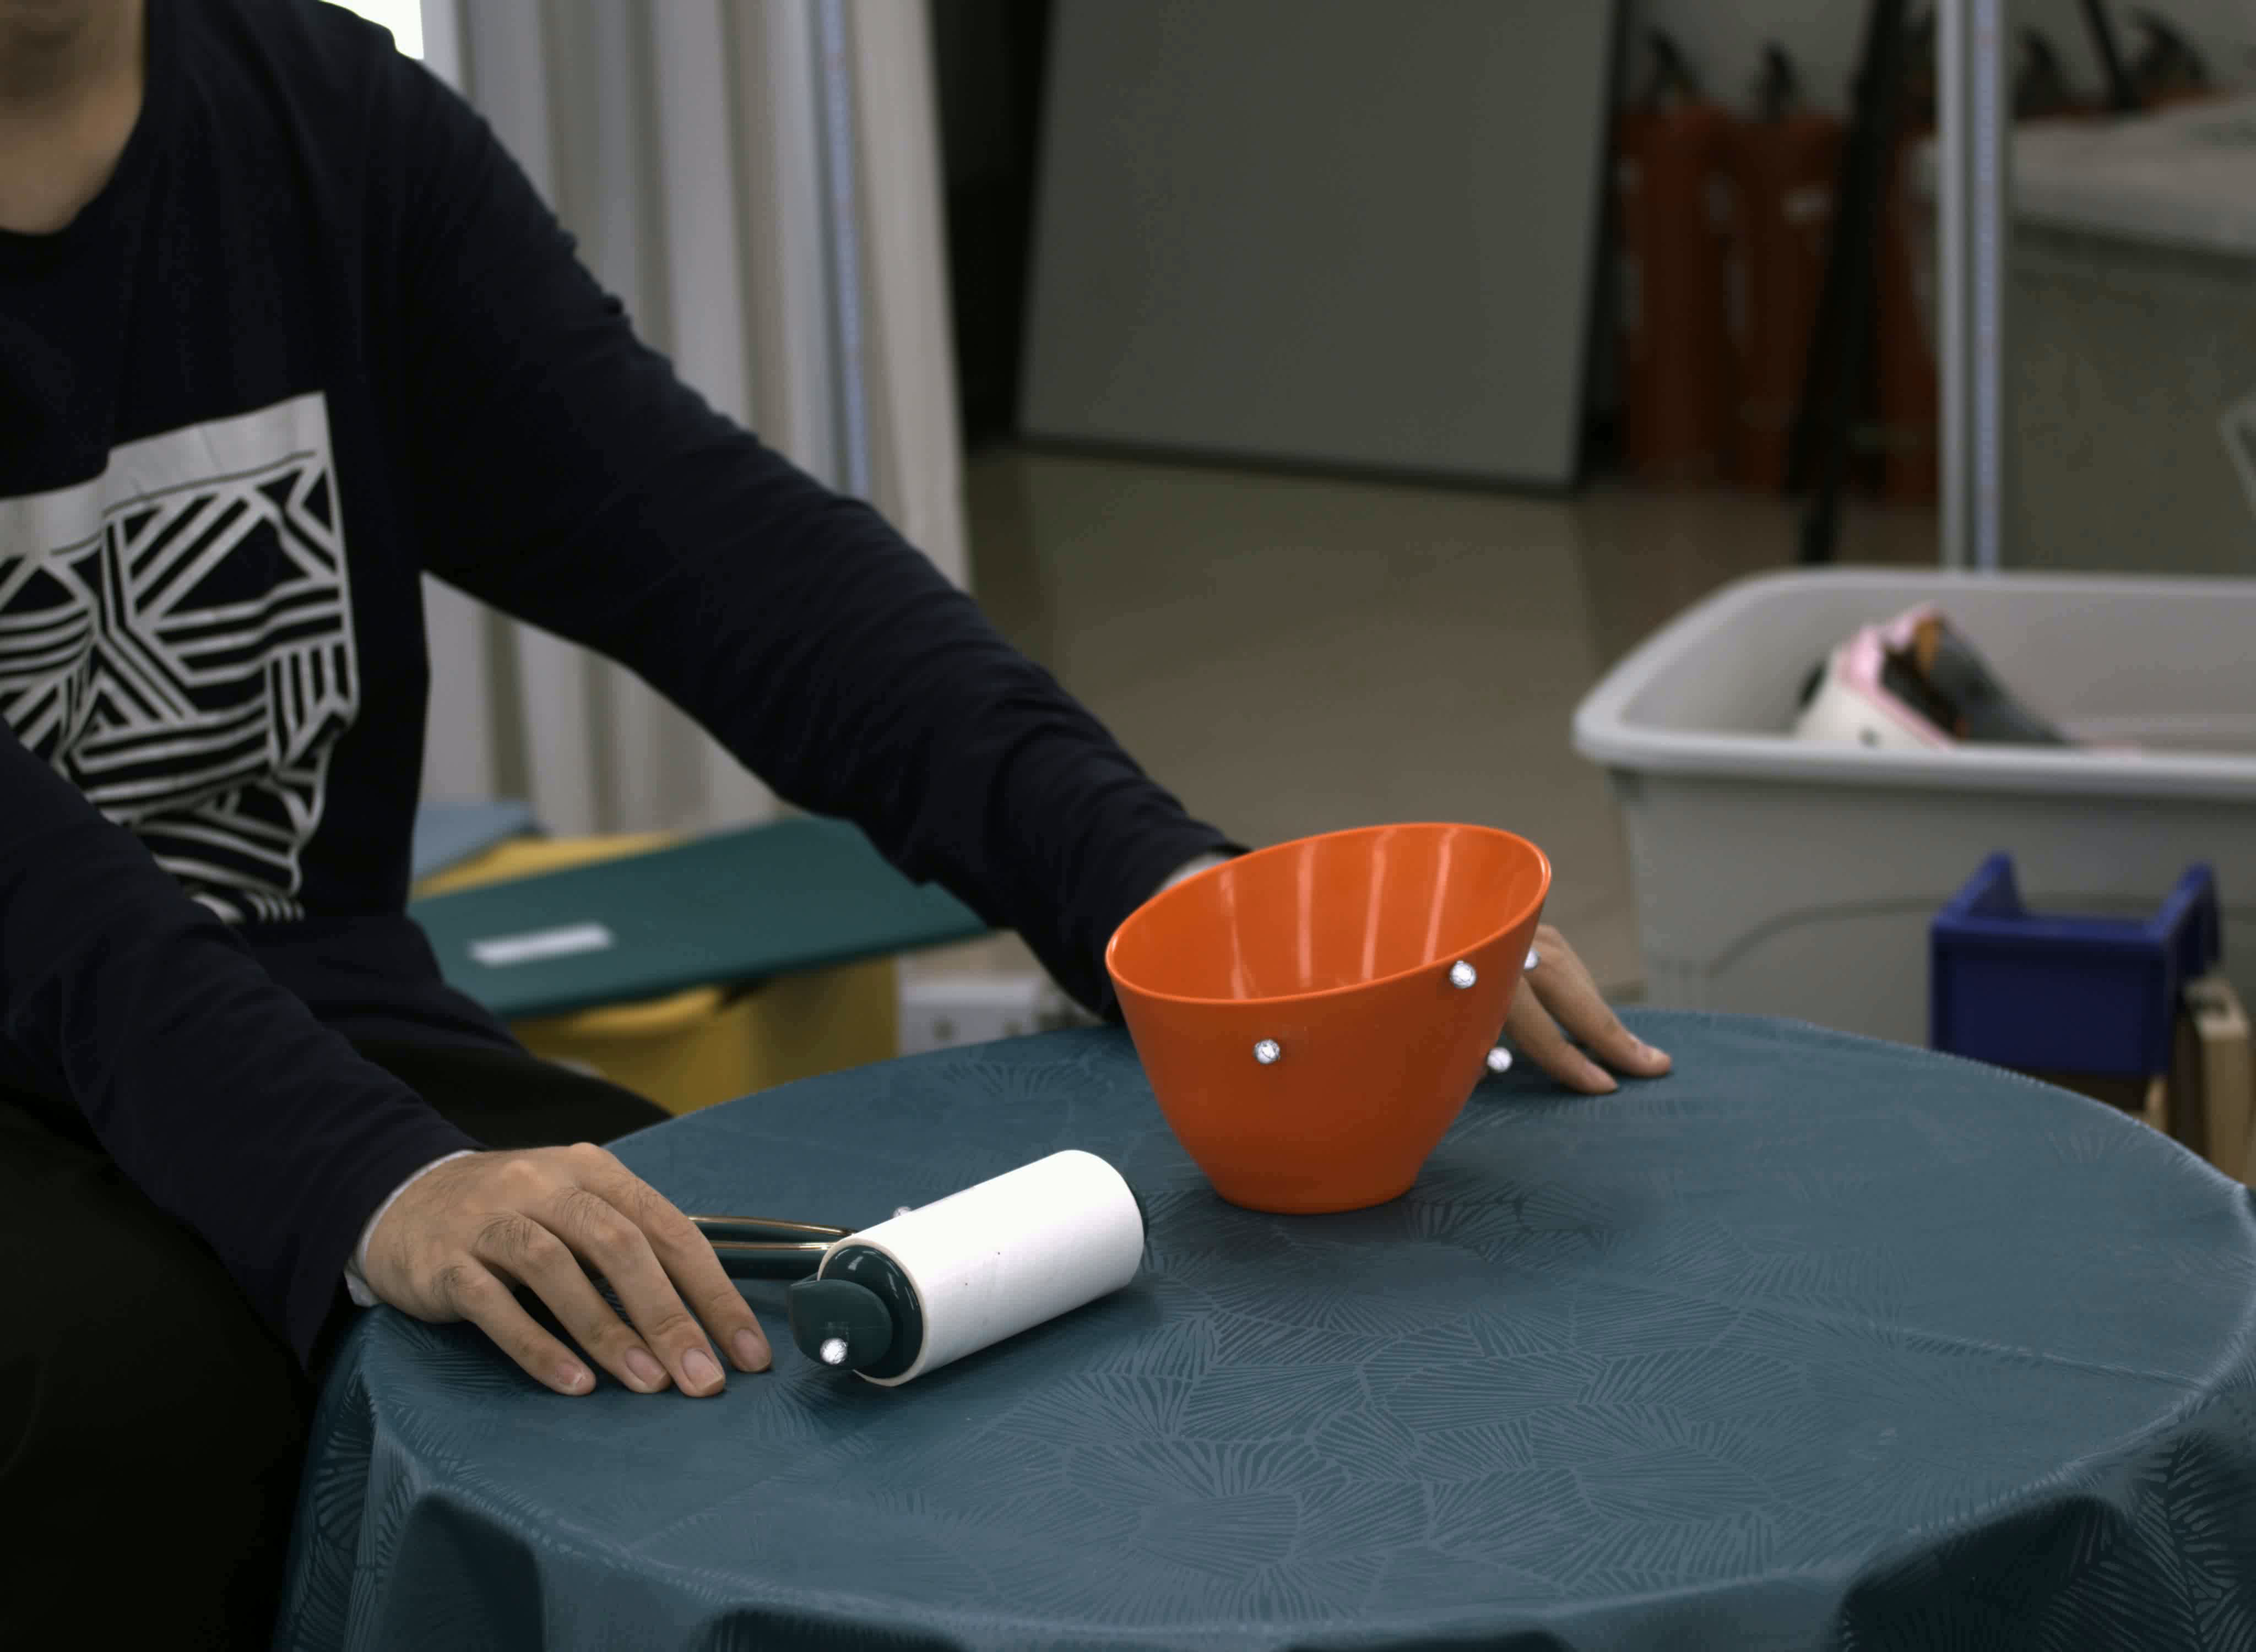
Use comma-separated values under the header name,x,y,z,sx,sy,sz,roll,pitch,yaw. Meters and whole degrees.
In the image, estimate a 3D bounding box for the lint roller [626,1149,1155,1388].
name,x,y,z,sx,sy,sz,roll,pitch,yaw
lint roller,-0.094,0.132,1.681,0.181,0.049,0.132,2,15,43

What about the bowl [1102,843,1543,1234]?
name,x,y,z,sx,sy,sz,roll,pitch,yaw
bowl,0.067,0.072,1.761,0.146,0.106,0.148,-5,12,0
